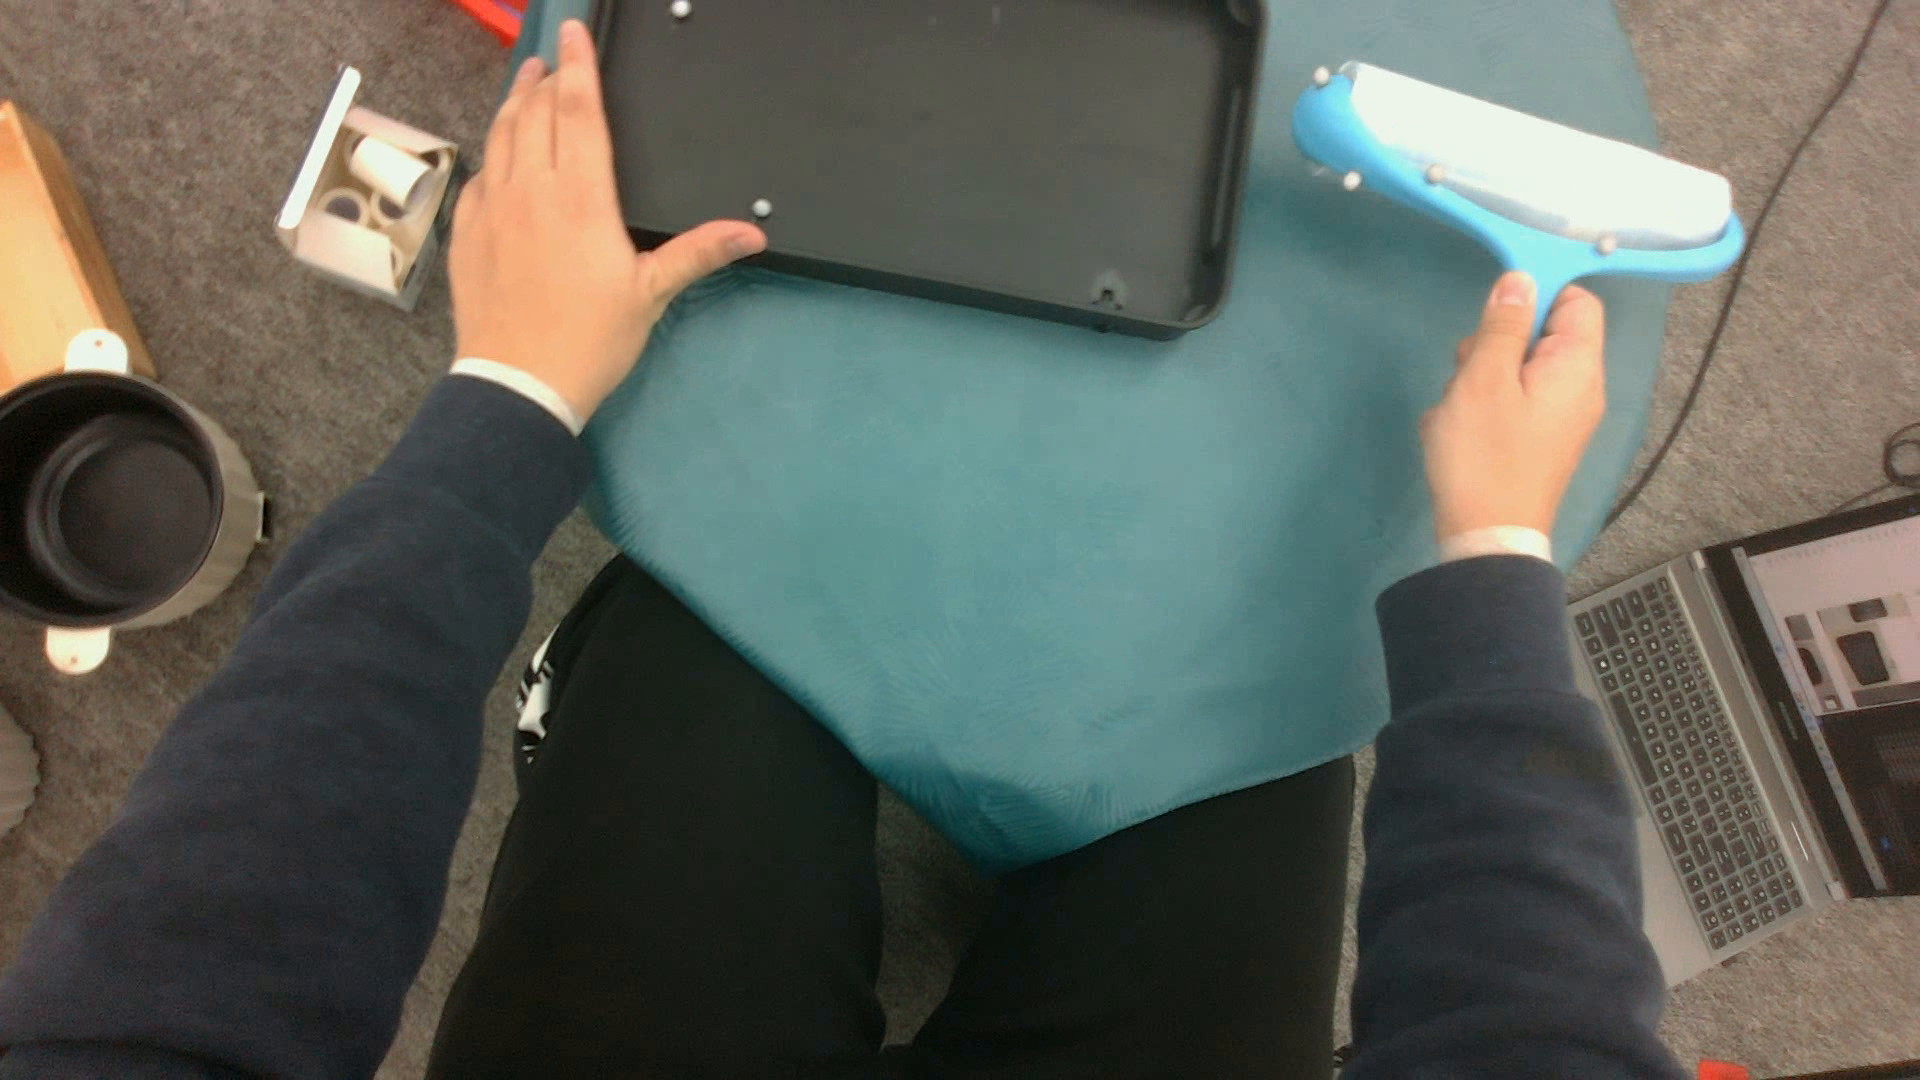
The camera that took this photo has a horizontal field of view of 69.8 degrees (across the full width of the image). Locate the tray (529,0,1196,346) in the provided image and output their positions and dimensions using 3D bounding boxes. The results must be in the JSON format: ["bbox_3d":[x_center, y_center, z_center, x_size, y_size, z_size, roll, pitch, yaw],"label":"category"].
[{"bbox_3d":[-0.041,-0.200,0.685,0.318,0.037,0.184,5,82,-11],"label":"tray"}]

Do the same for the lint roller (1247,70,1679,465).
[{"bbox_3d":[0.247,-0.130,0.674,0.229,0.067,0.181,9,72,-13],"label":"lint roller"}]
